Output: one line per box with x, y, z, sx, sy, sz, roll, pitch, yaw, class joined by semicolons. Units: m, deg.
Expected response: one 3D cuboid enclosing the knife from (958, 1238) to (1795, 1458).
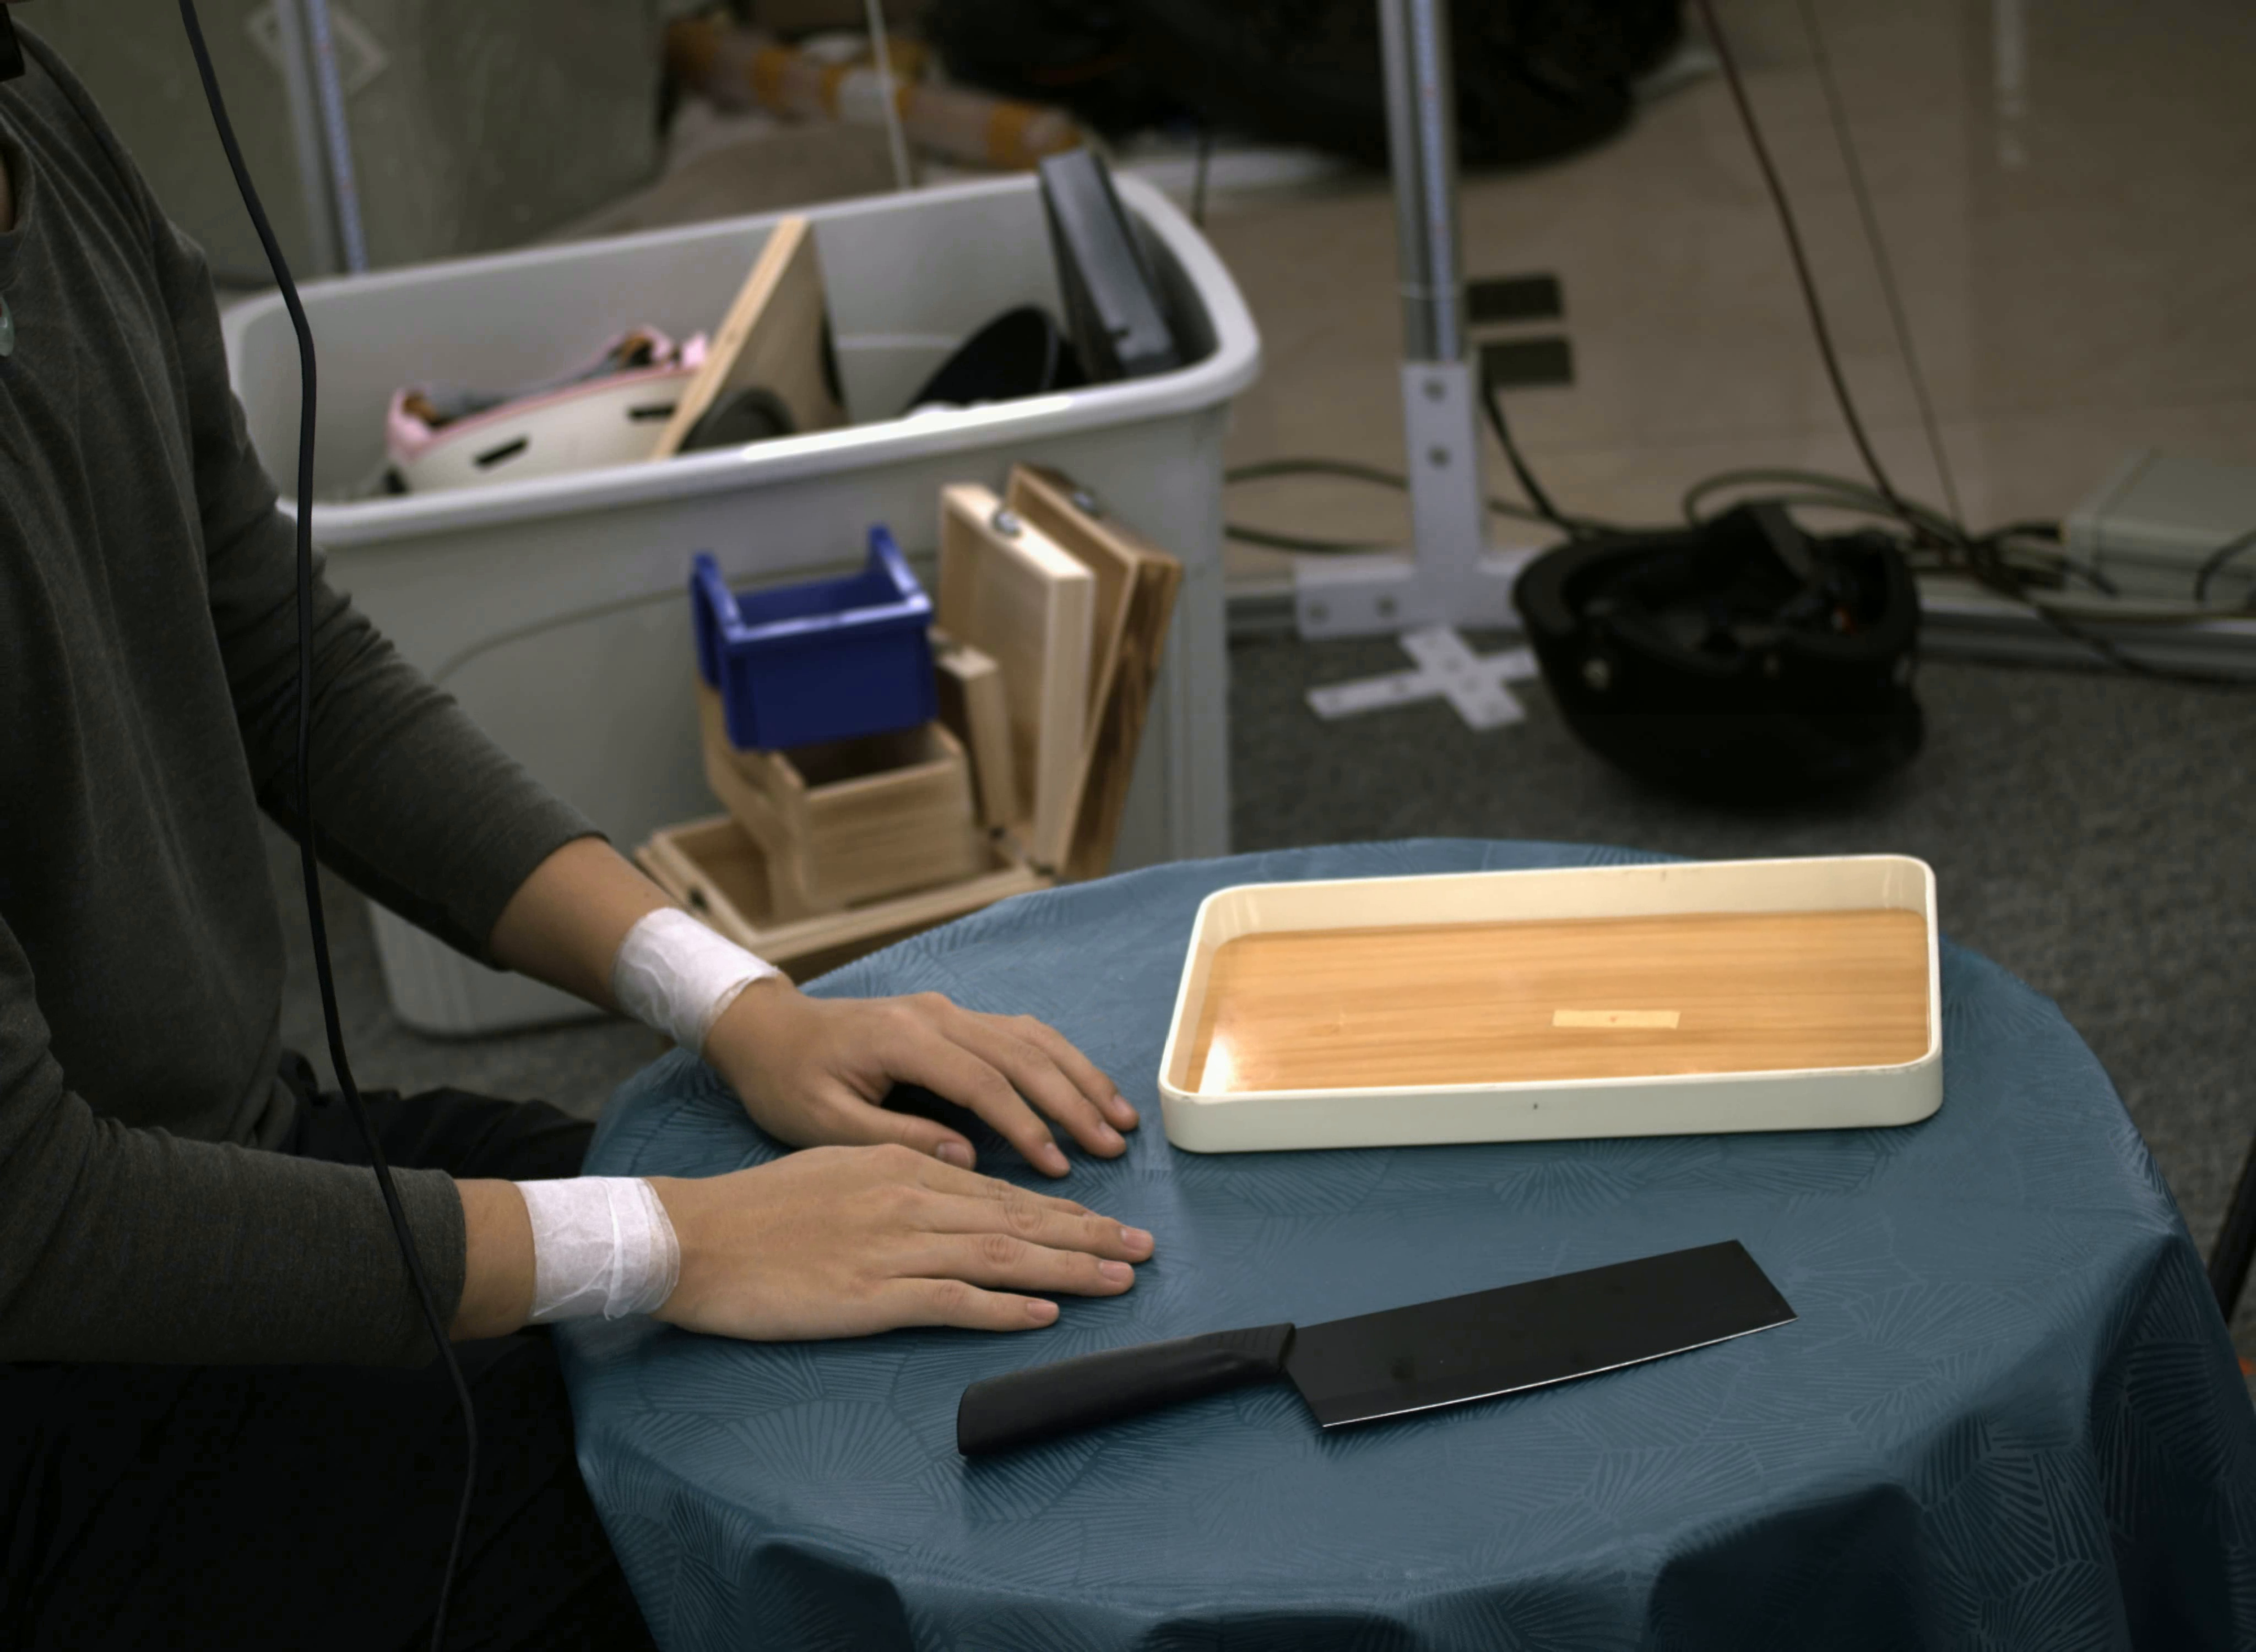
0.086;0.188;2.009;0.301;0.021;0.080;-9;26;-9;knife

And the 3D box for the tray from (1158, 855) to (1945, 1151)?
0.169;0.069;2.229;0.300;0.028;0.189;-3;25;9;tray
